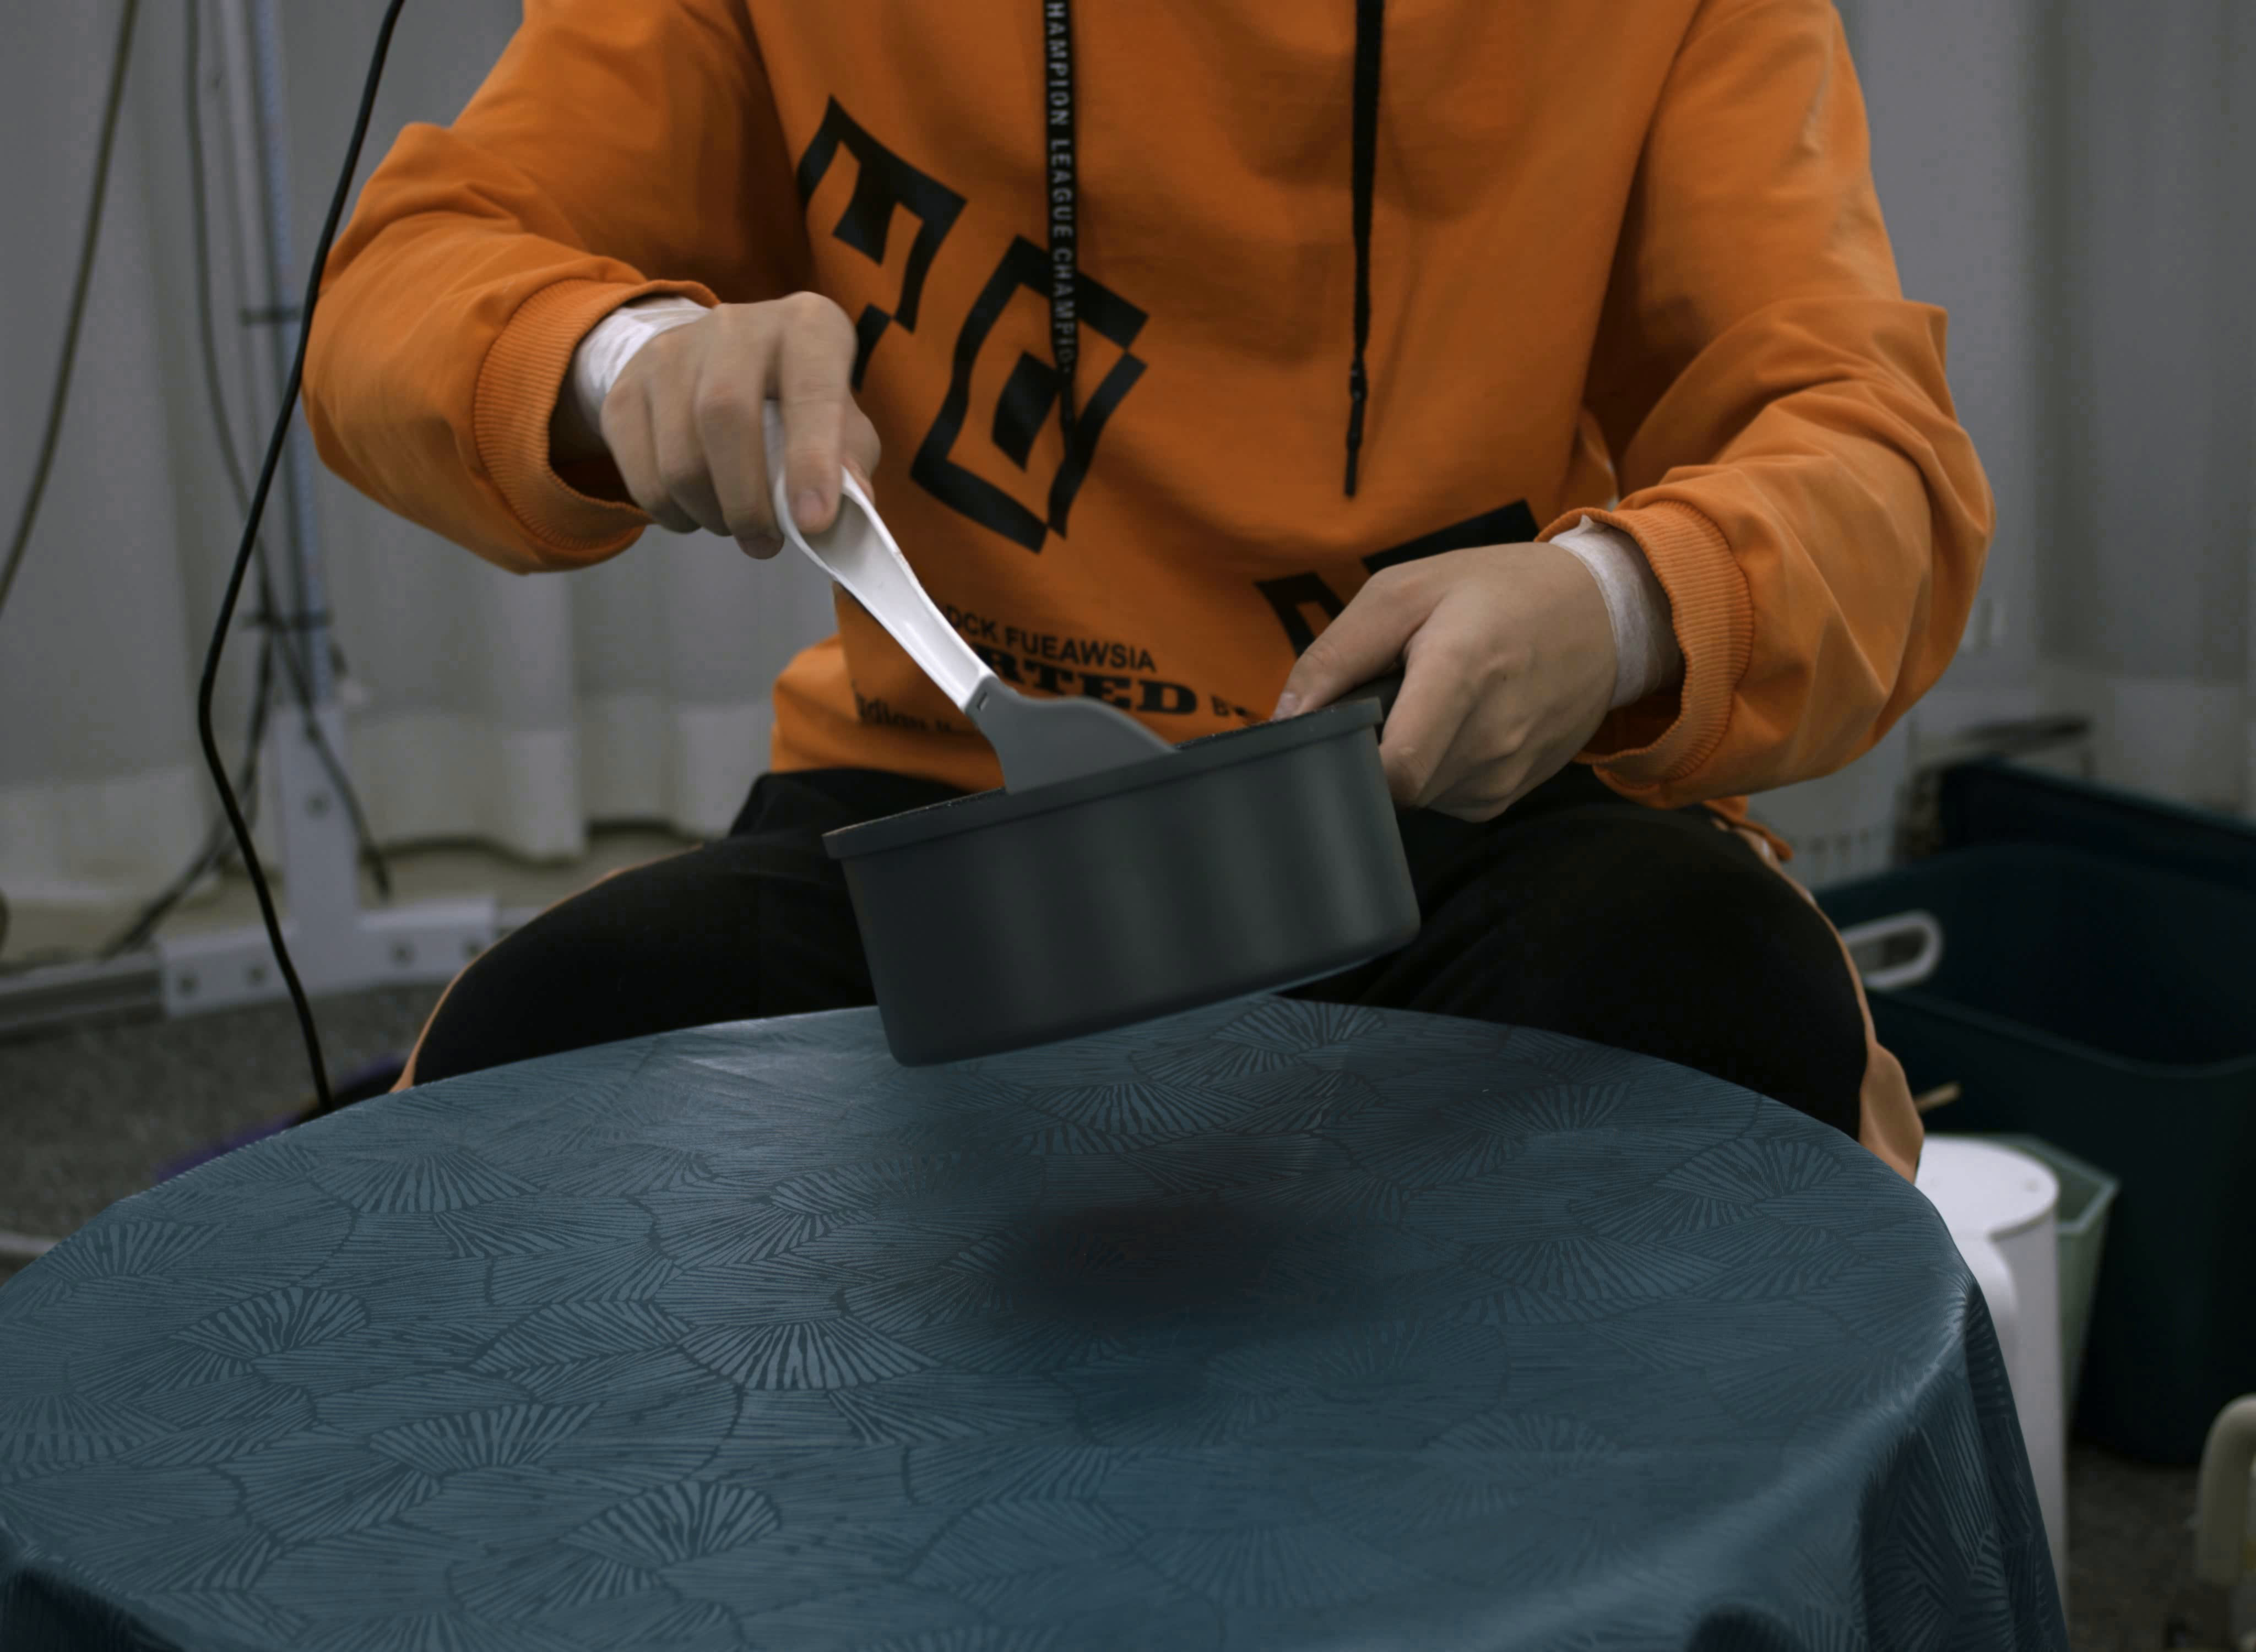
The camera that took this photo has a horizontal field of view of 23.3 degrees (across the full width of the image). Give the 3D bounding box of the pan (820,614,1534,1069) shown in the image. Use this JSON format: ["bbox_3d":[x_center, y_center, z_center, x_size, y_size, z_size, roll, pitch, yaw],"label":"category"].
[{"bbox_3d":[0.041,0.001,1.695,0.172,0.086,0.328,-12,3,34],"label":"pan"}]

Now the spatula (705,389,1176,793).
[{"bbox_3d":[-0.051,-0.054,1.678,0.032,0.058,0.291,28,13,-44],"label":"spatula"}]
